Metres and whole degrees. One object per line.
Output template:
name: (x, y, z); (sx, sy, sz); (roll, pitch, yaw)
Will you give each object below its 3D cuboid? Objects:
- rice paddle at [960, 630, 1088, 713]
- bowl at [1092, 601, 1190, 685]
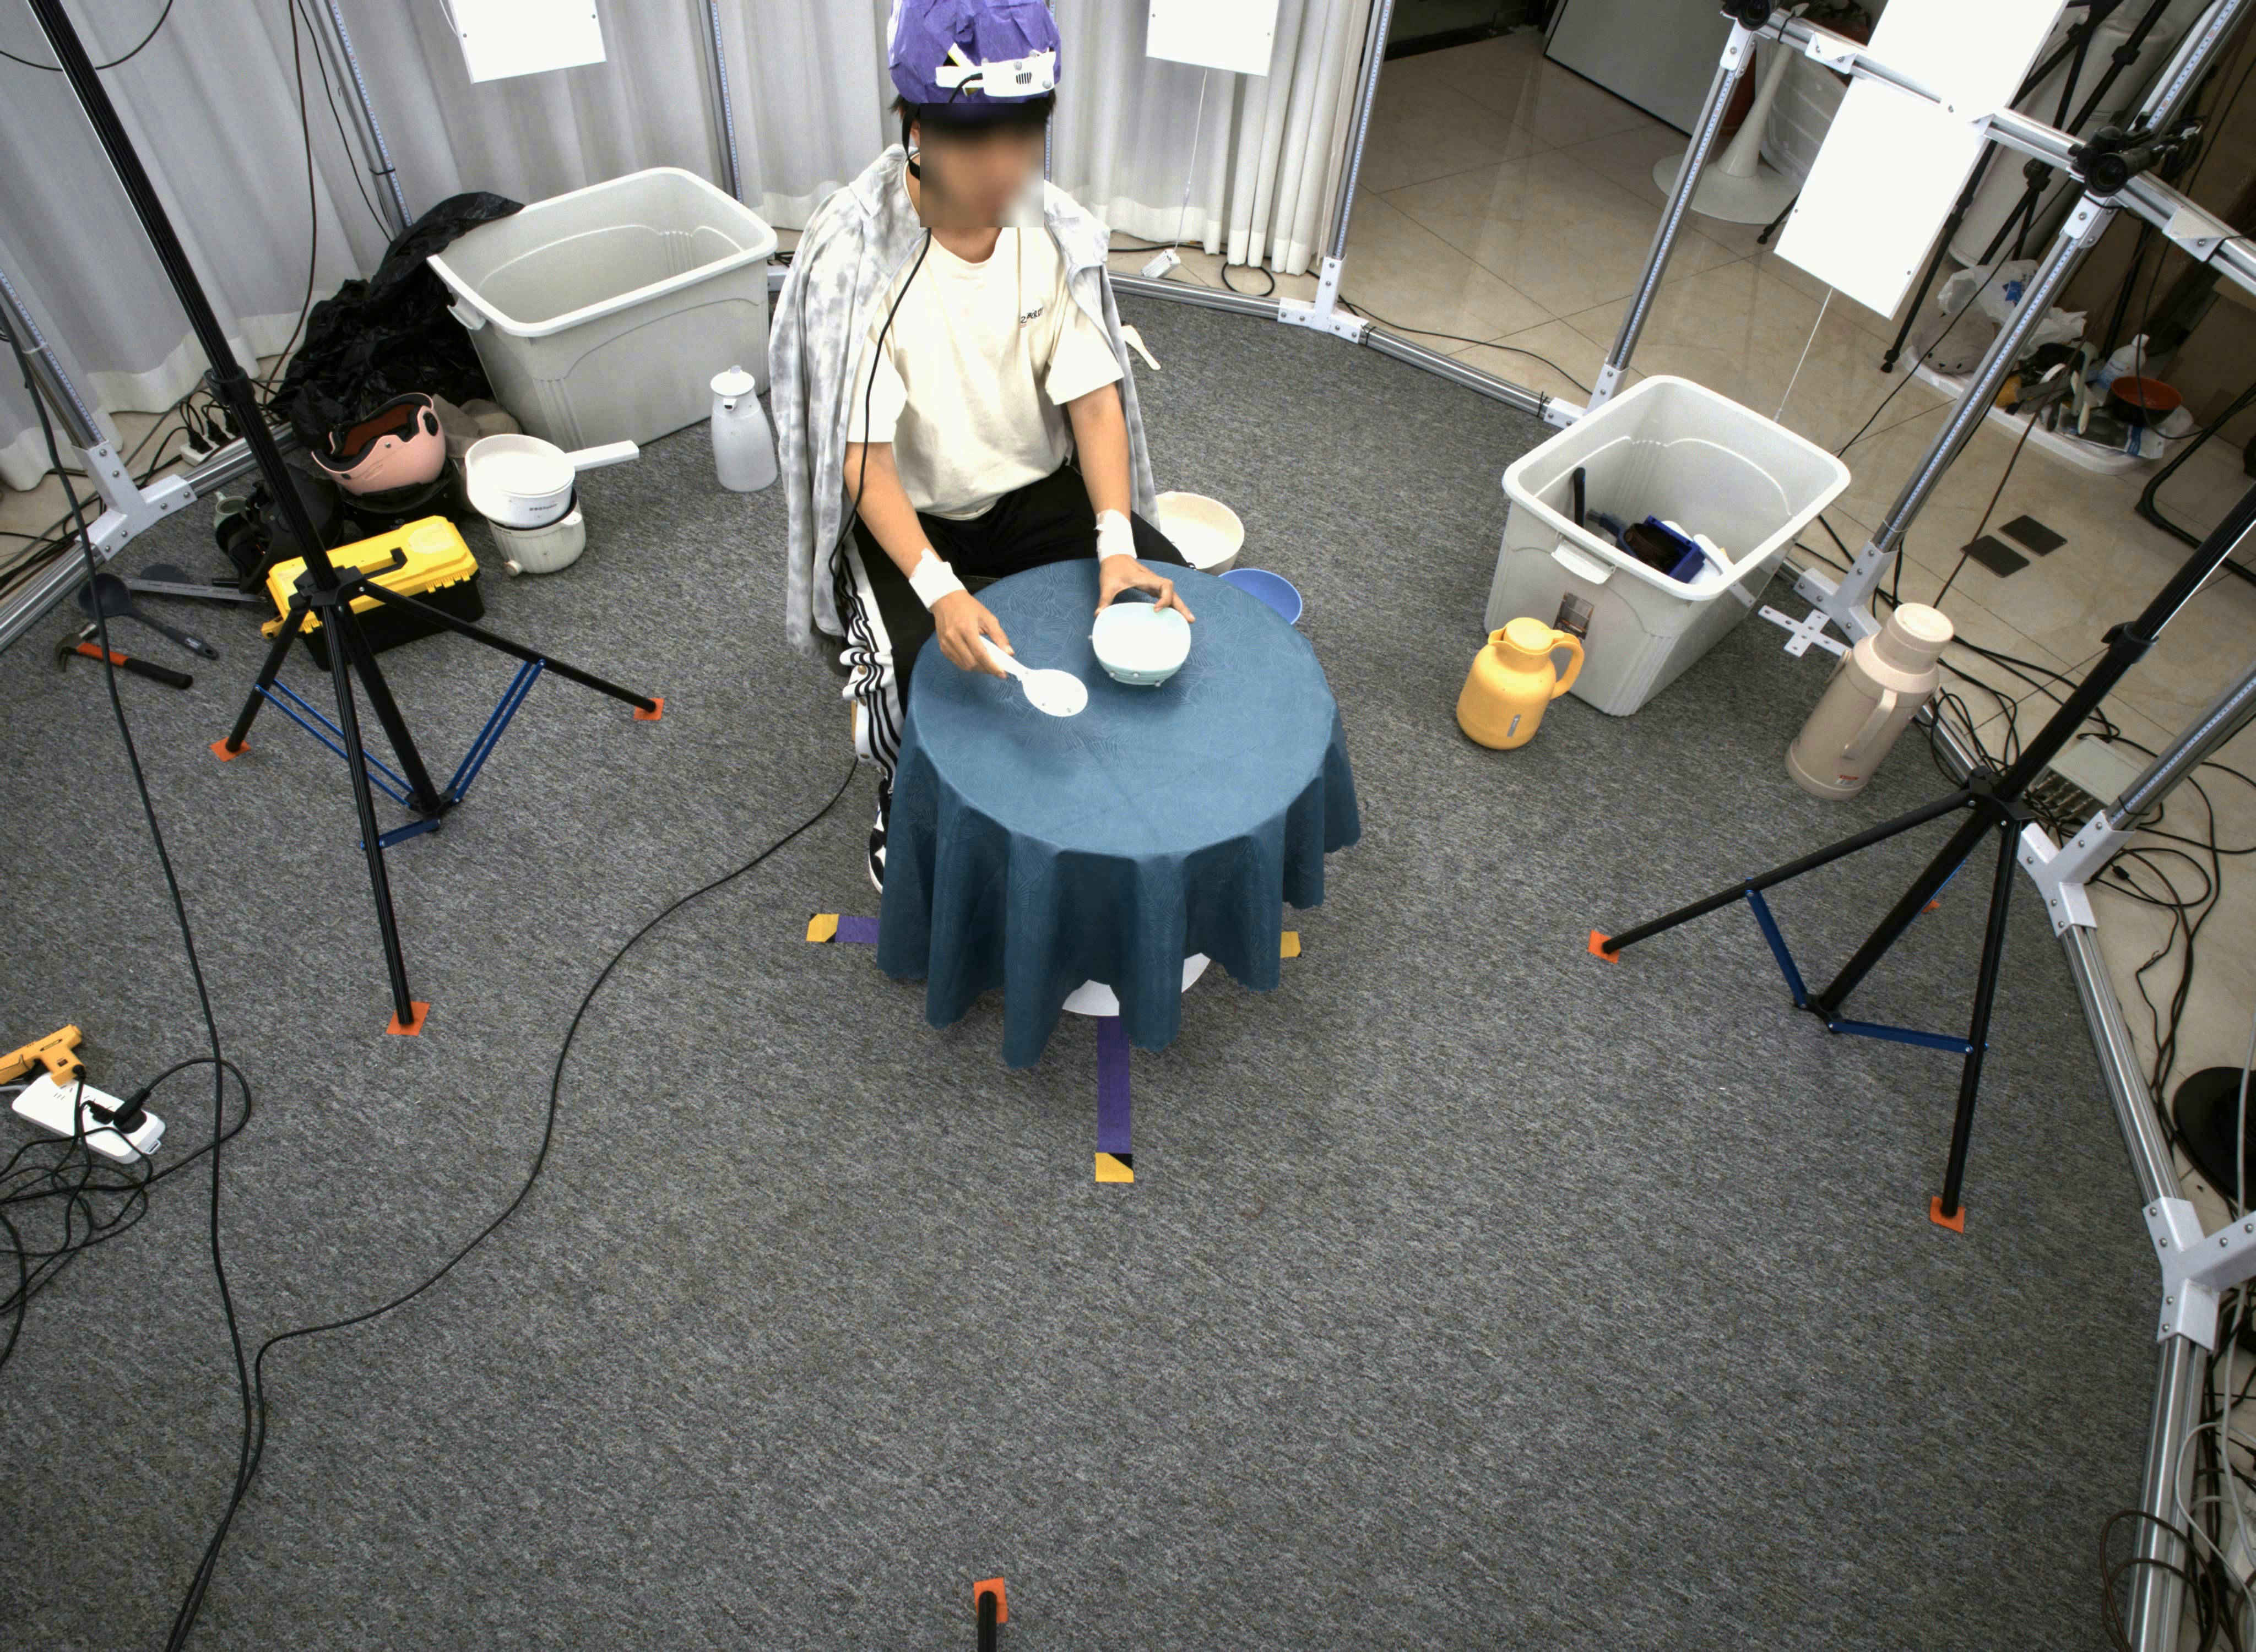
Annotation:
rice paddle: (-0.140, -0.210, 1.732); (0.208, 0.029, 0.069); (31, 66, 24)
bowl: (0.018, -0.254, 1.844); (0.151, 0.057, 0.155); (0, 52, -1)
